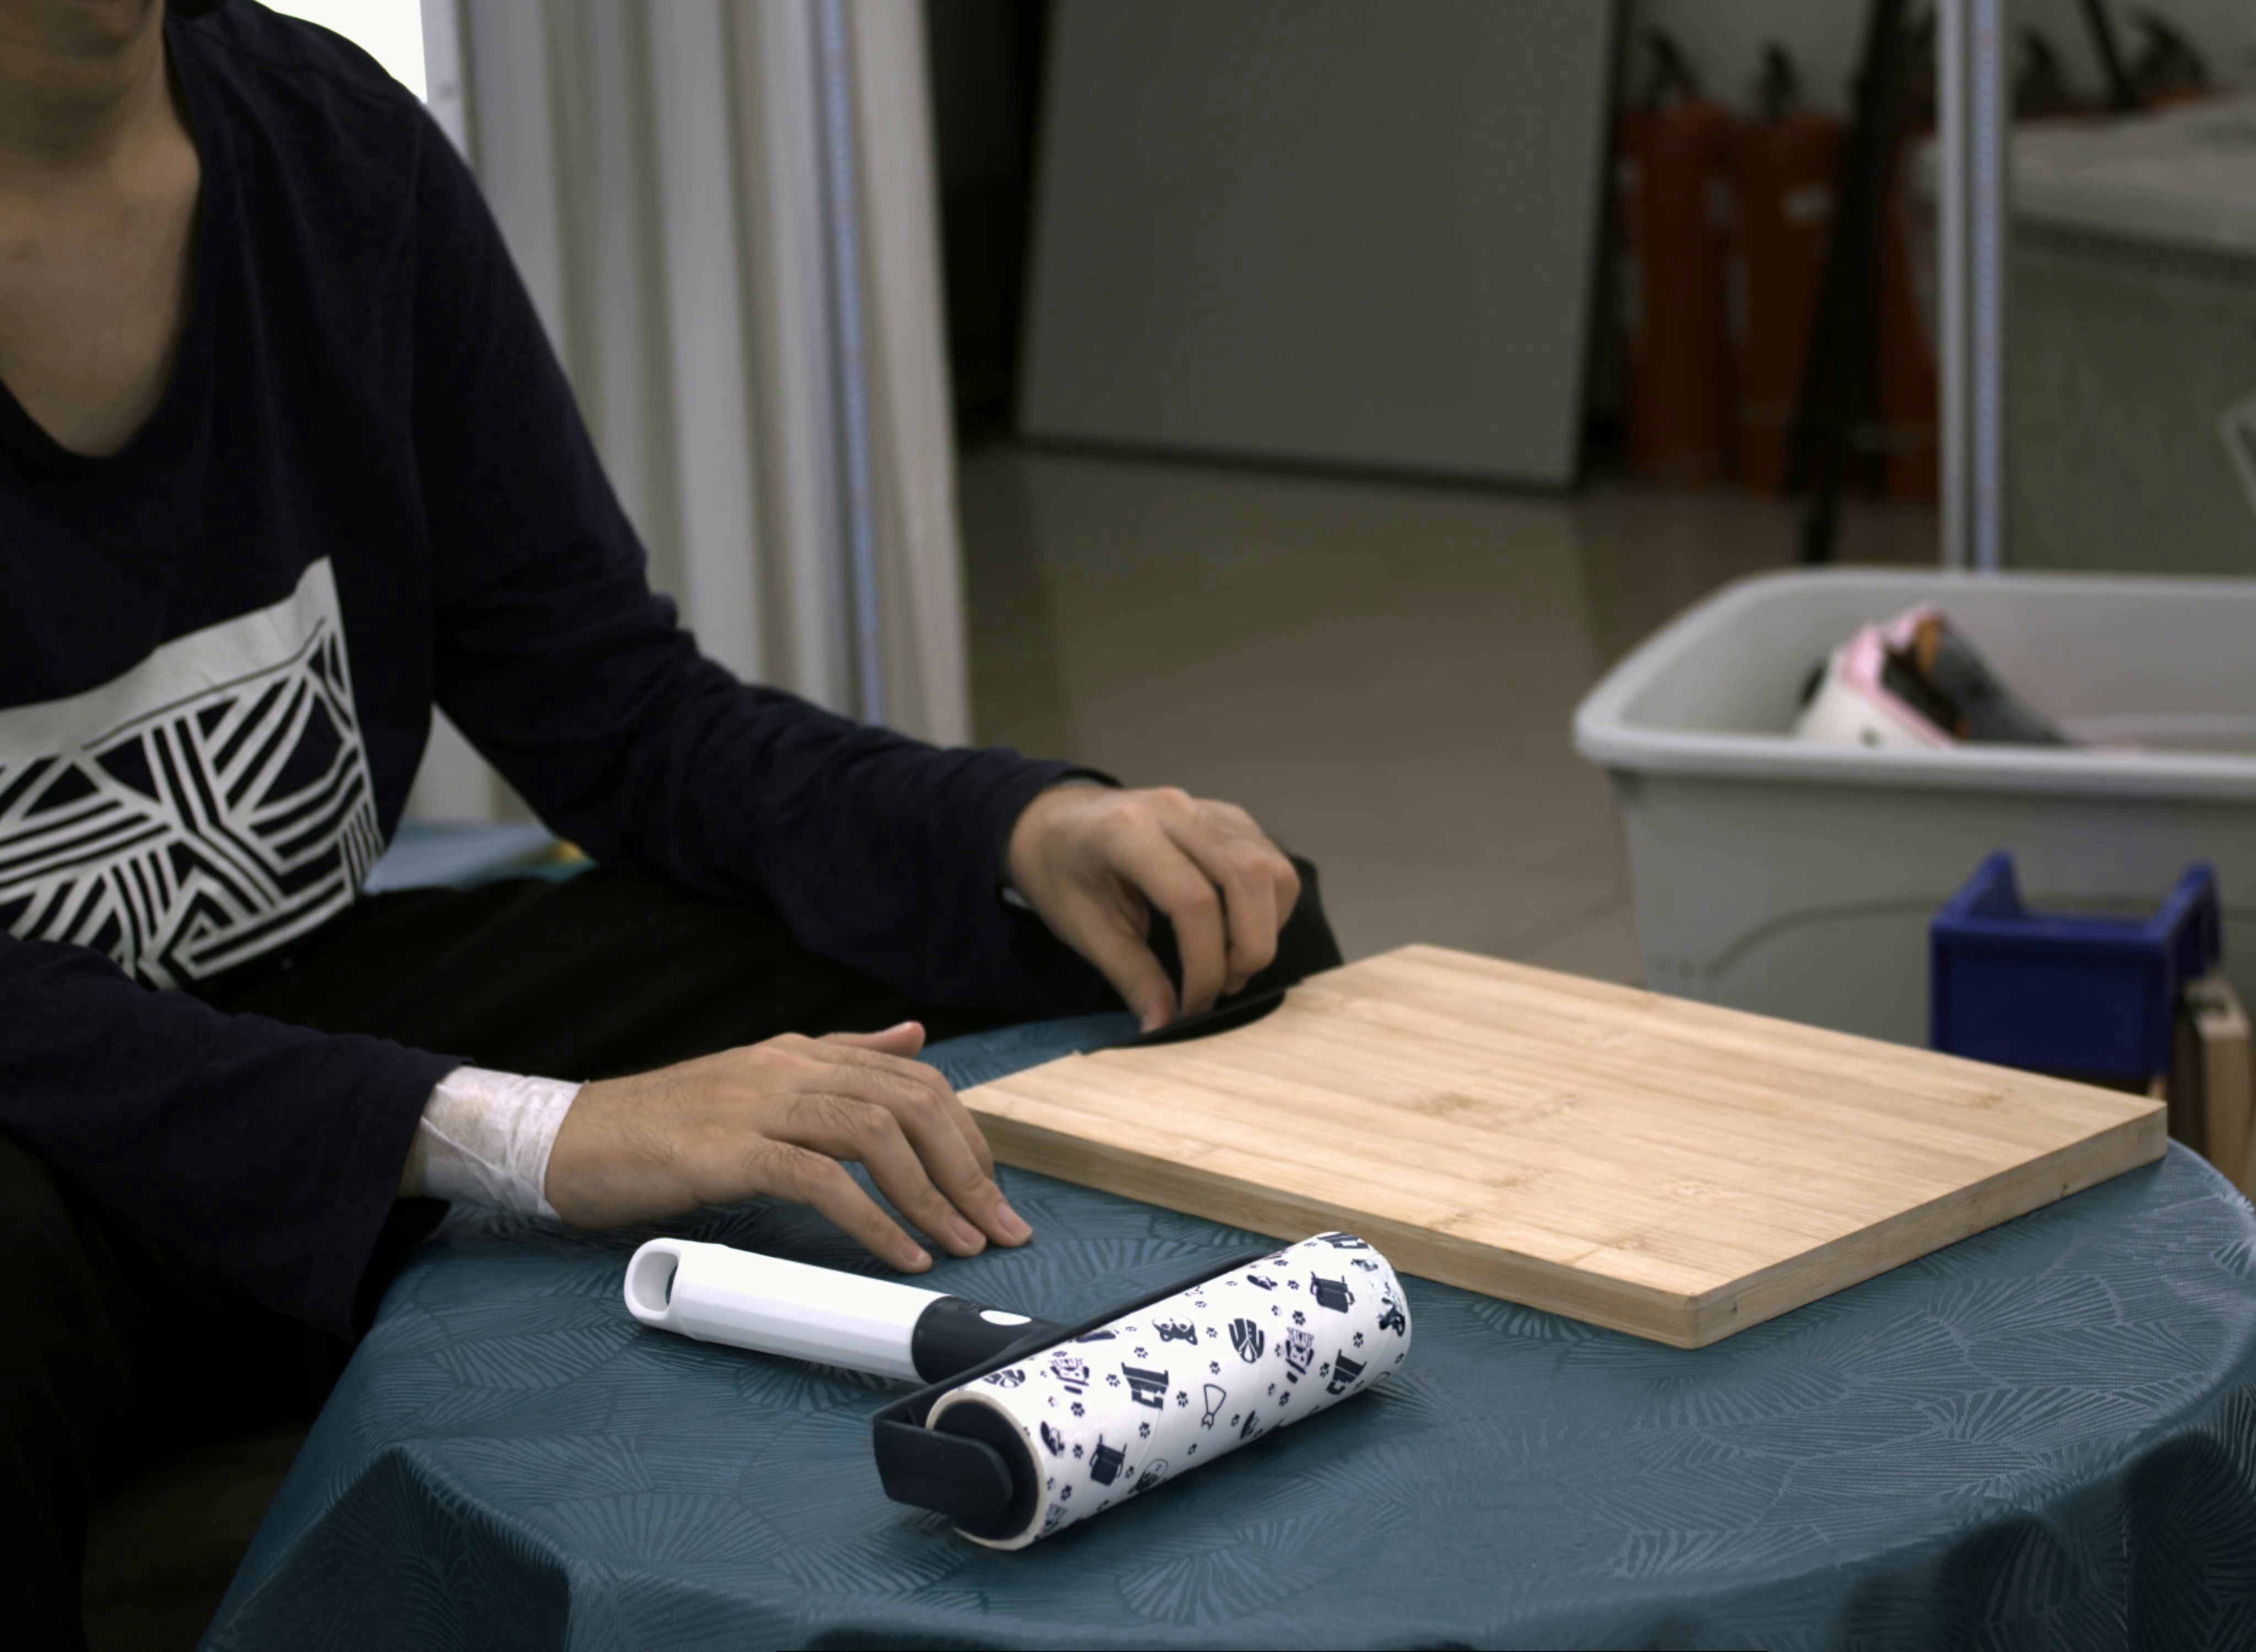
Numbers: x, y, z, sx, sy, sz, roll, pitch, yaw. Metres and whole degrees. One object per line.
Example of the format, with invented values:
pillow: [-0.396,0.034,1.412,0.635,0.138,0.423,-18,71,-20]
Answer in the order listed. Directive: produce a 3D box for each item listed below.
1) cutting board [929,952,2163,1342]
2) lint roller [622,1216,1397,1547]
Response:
cutting board: [0.133,0.101,1.788,0.245,0.024,0.352,-15,17,-41]
lint roller: [-0.063,0.150,1.589,0.249,0.051,0.173,5,17,42]
